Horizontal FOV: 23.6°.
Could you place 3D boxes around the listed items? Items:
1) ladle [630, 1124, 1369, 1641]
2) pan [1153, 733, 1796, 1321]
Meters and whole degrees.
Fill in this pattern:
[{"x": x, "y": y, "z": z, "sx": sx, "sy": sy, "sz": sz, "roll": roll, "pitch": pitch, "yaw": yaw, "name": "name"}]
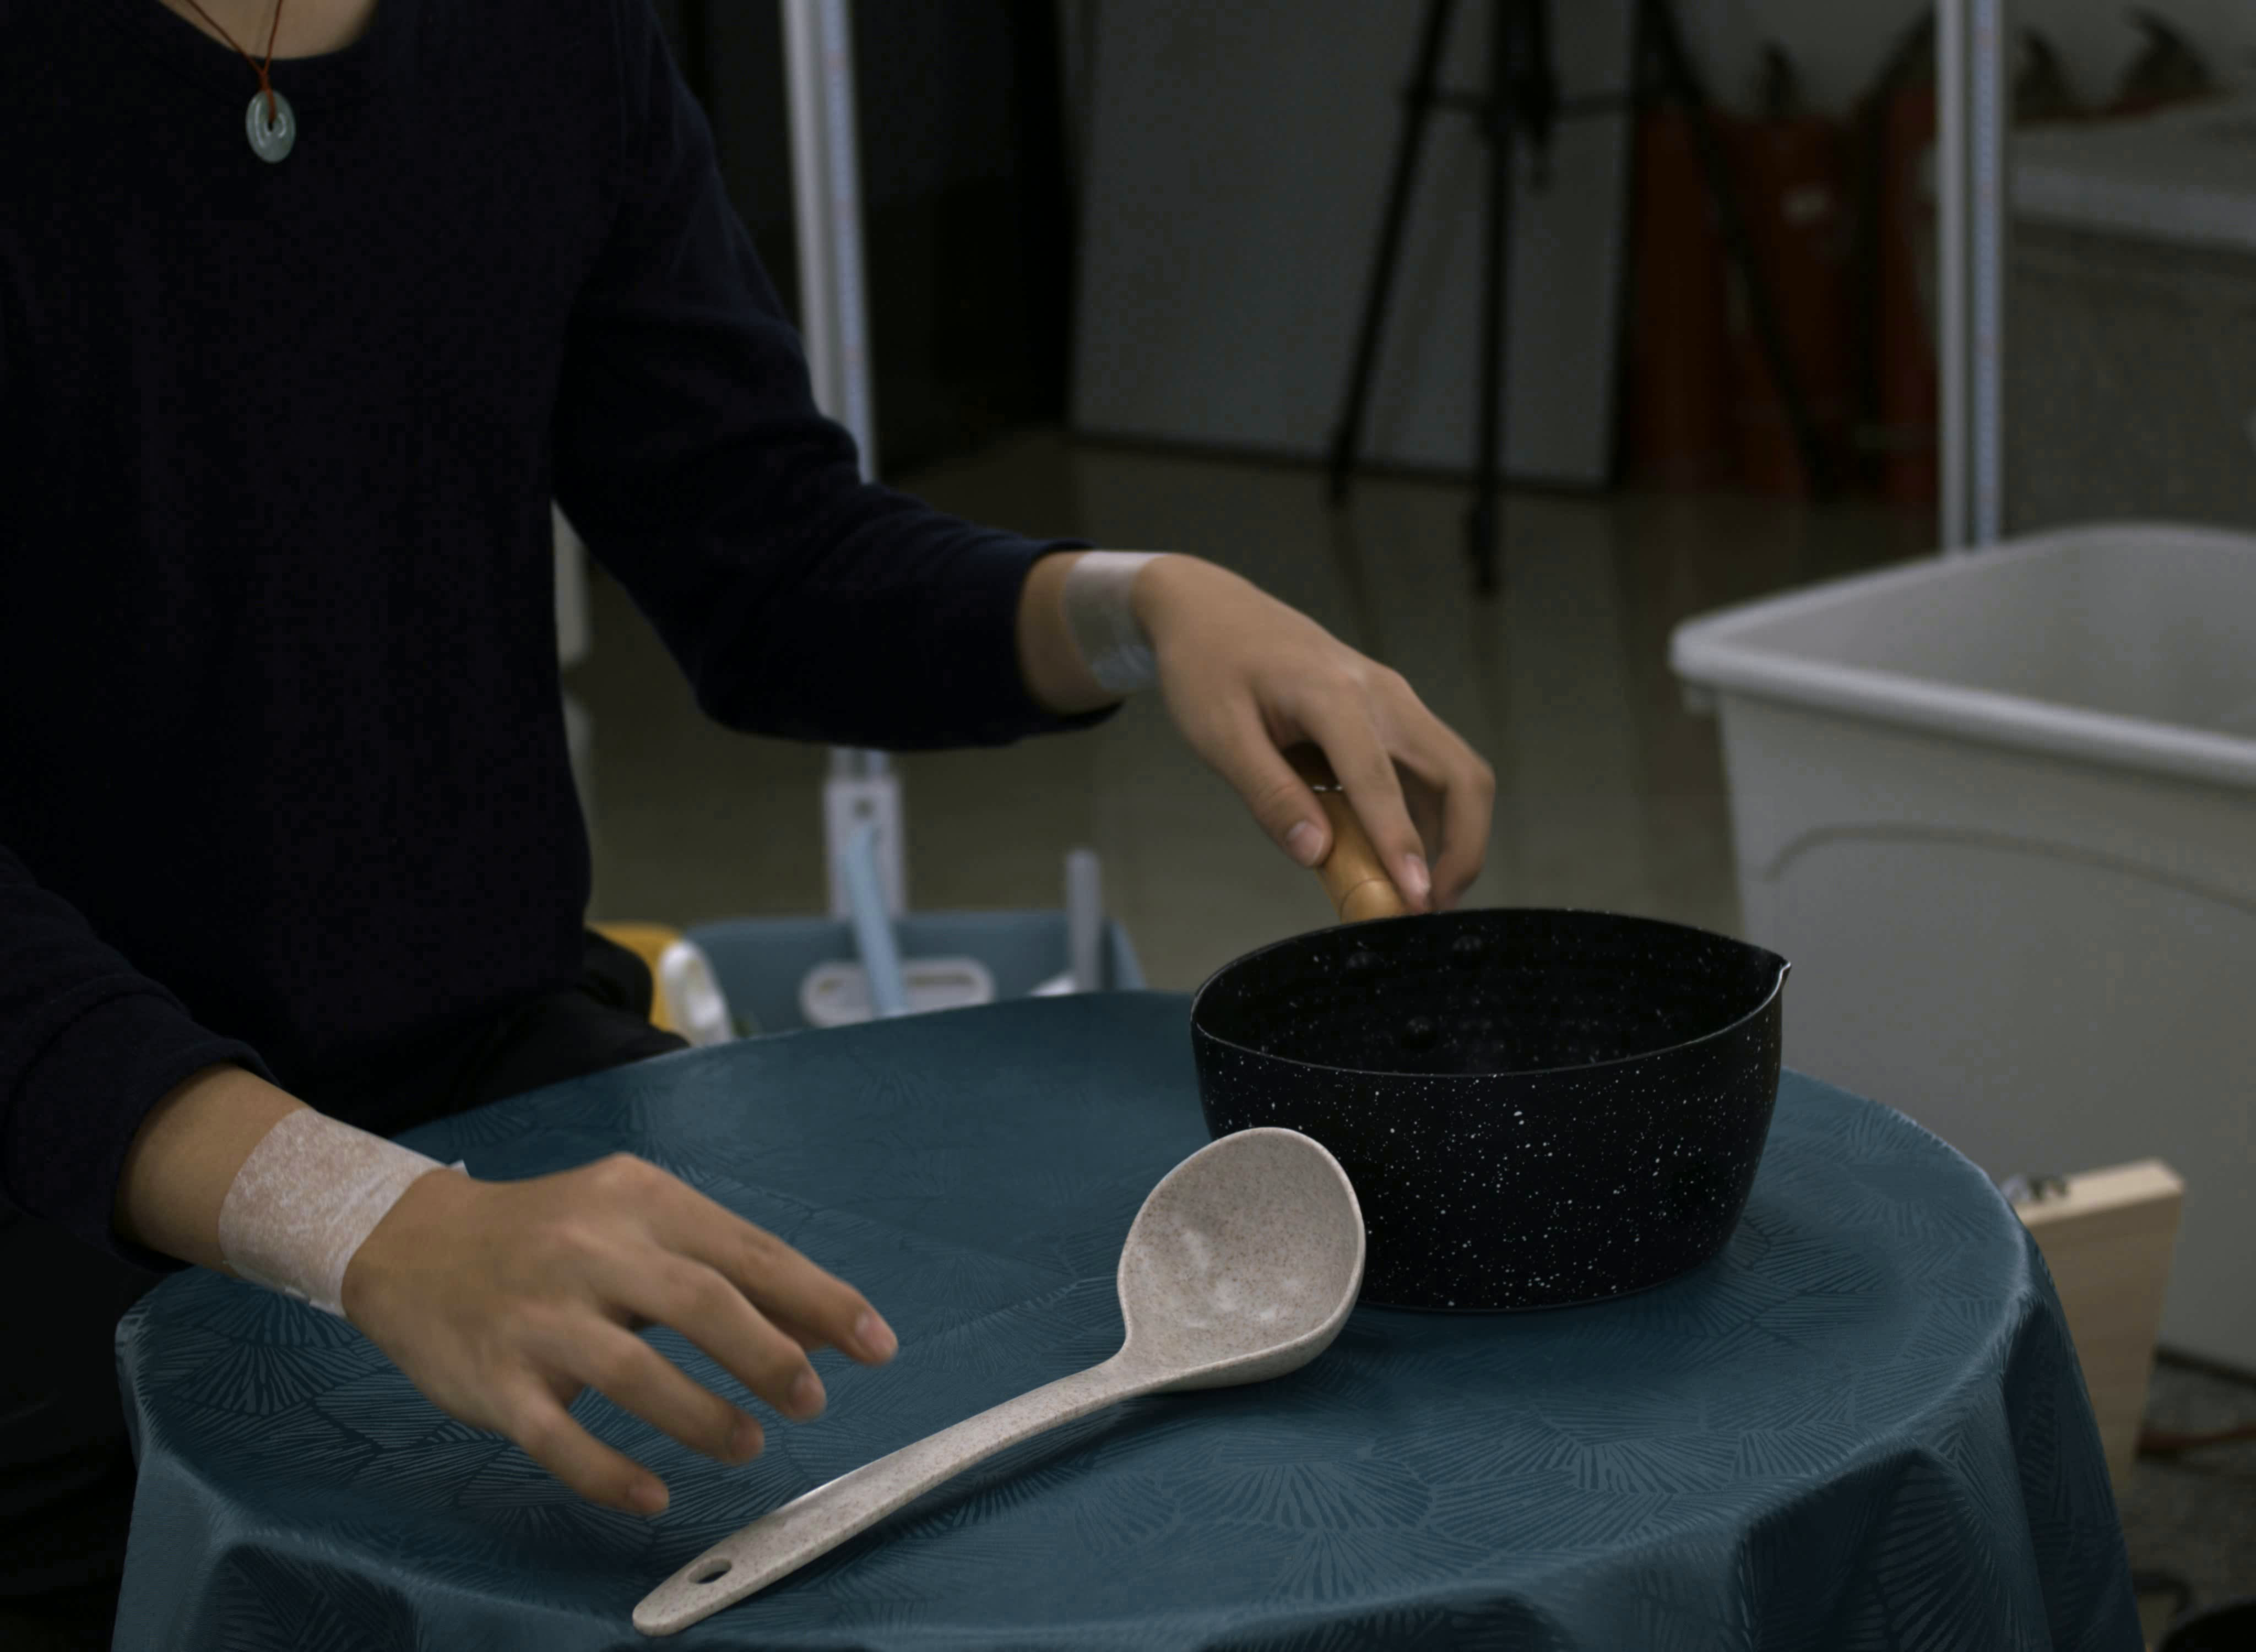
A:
[{"x": -0.038, "y": 0.152, "z": 1.515, "sx": 0.090, "sy": 0.070, "sz": 0.269, "roll": 17, "pitch": 24, "yaw": 40, "name": "ladle"}, {"x": 0.095, "y": 0.060, "z": 1.762, "sx": 0.204, "sy": 0.109, "sz": 0.345, "roll": -8, "pitch": 16, "yaw": -11, "name": "pan"}]
